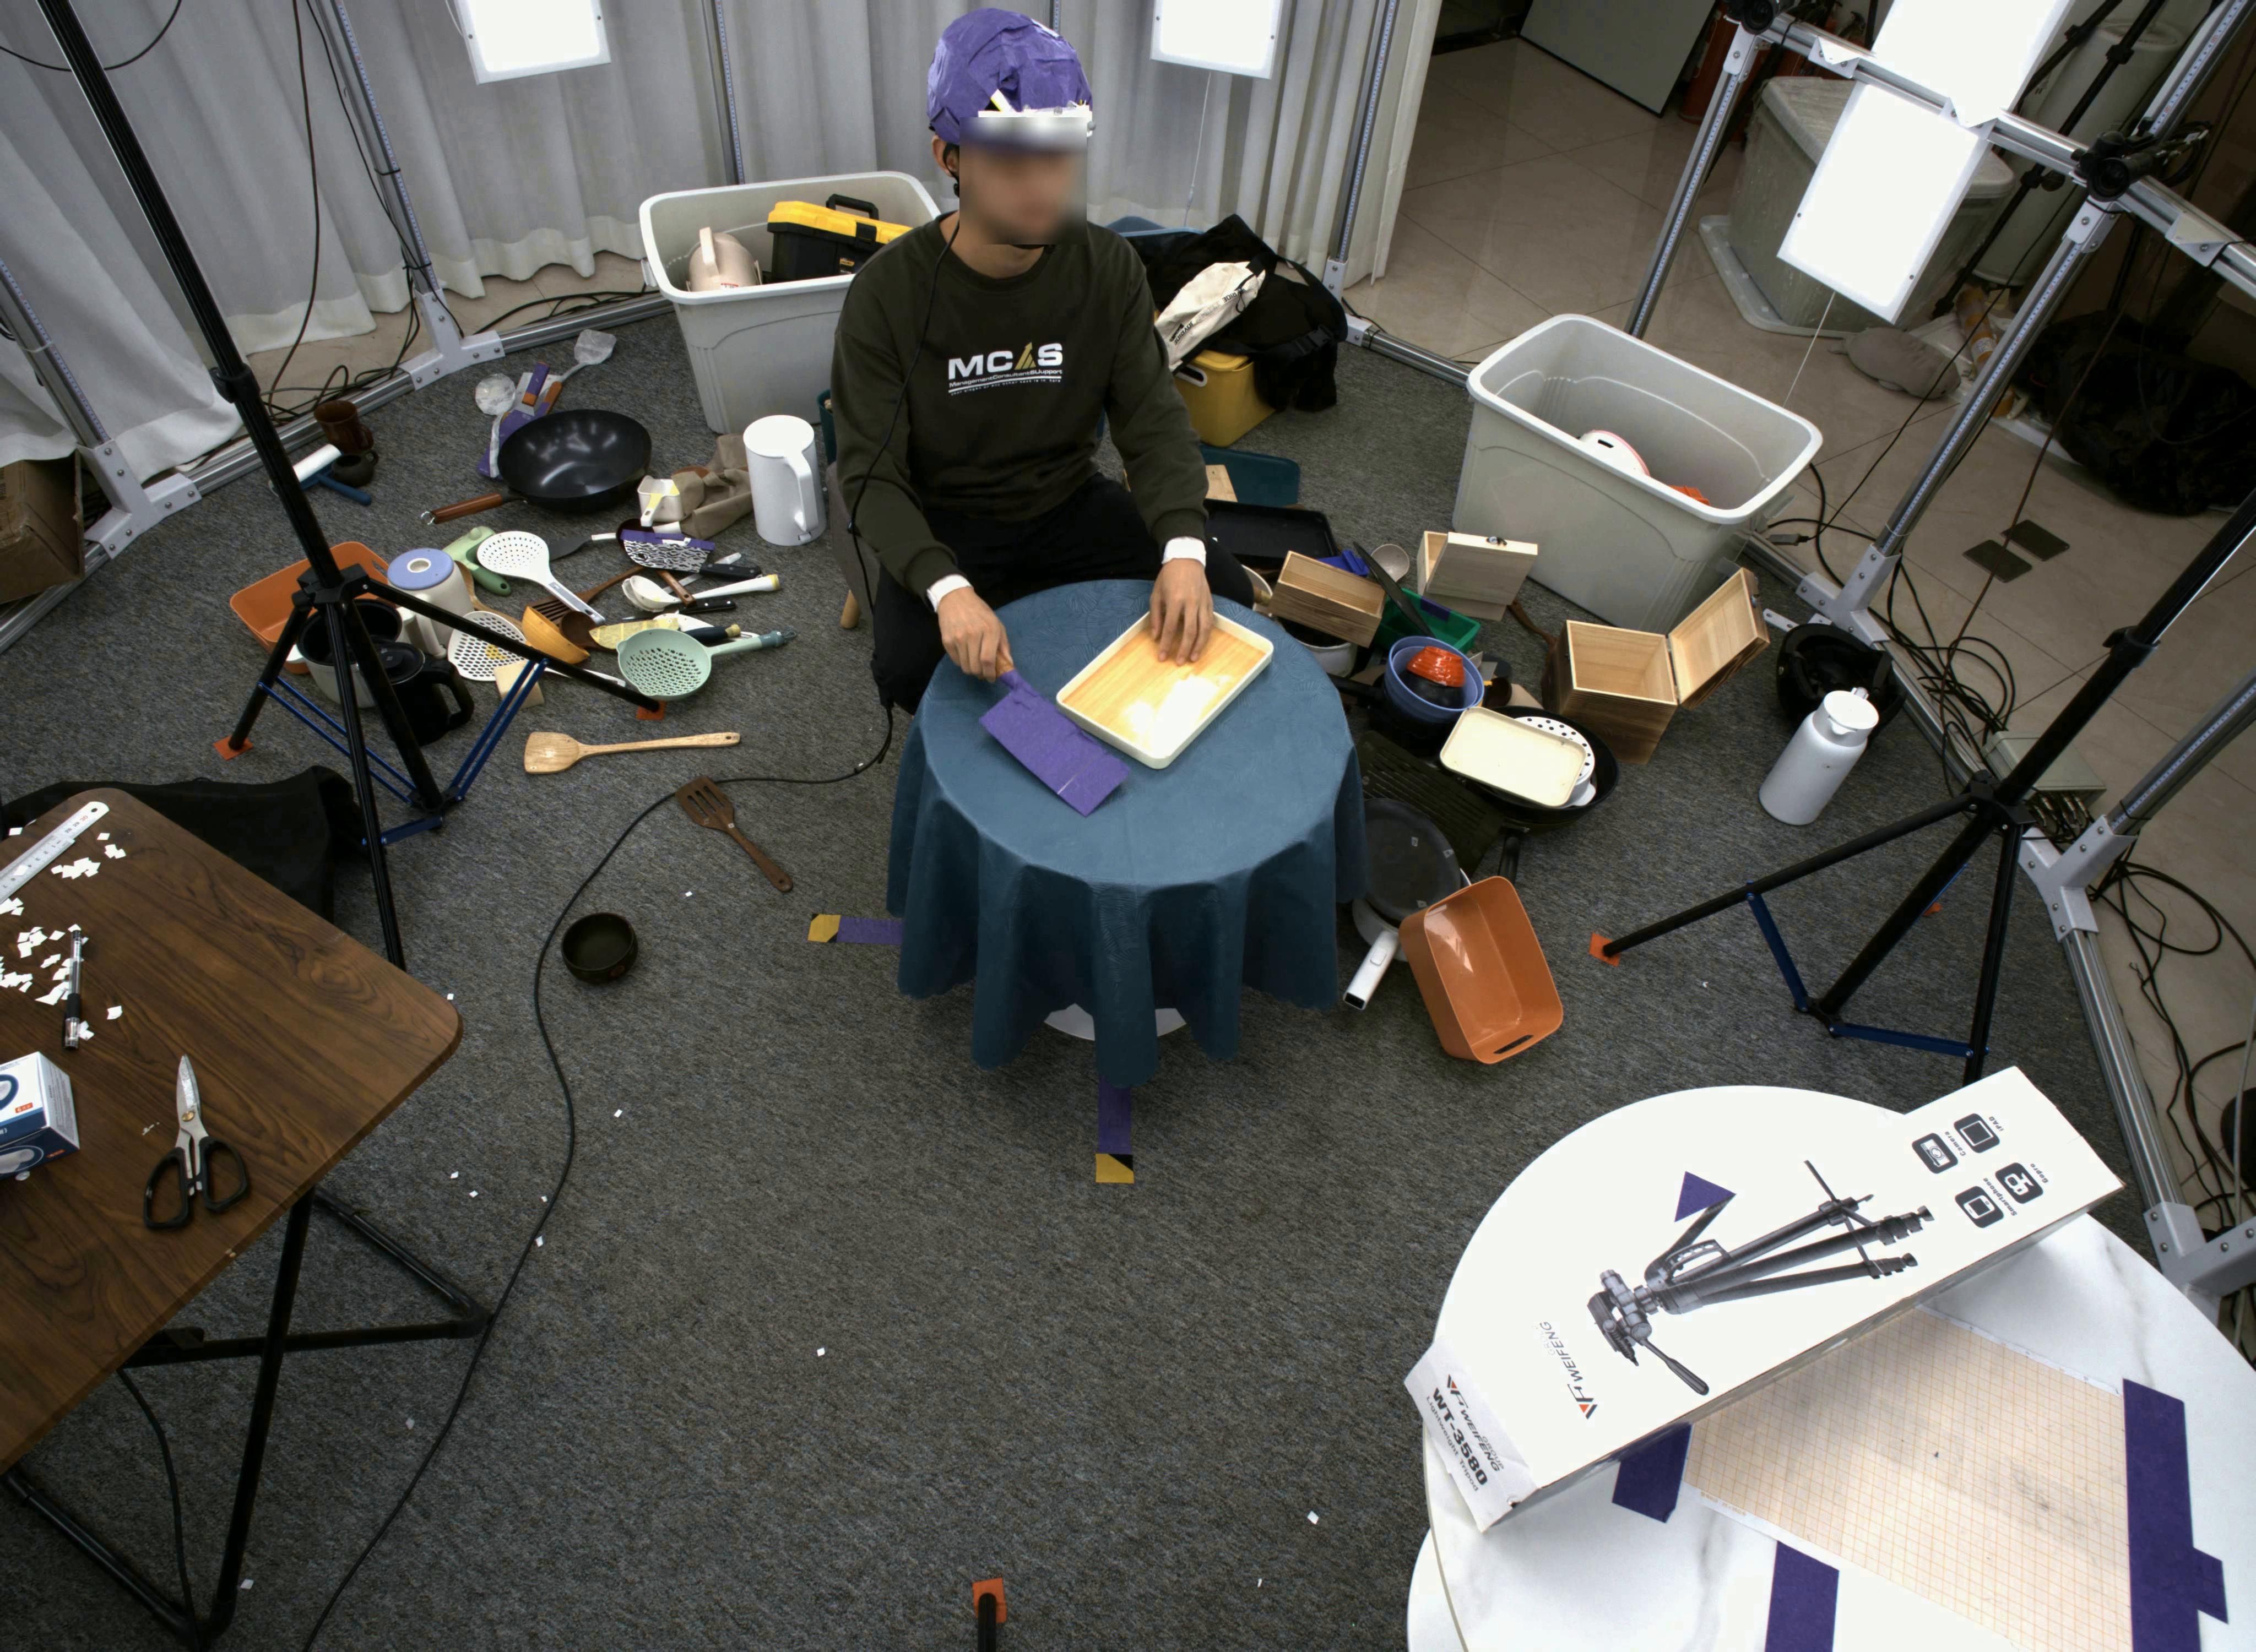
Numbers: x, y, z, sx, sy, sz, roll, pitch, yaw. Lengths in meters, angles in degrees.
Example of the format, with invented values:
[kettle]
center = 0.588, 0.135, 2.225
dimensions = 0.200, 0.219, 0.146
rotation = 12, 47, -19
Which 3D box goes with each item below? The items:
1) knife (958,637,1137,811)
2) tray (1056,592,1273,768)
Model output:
[knife]
center = -0.134, -0.140, 1.734
dimensions = 0.319, 0.031, 0.105
rotation = 39, 68, 21
[tray]
center = 0.055, -0.215, 1.839
dimensions = 0.193, 0.027, 0.304
rotation = 31, 54, 20
